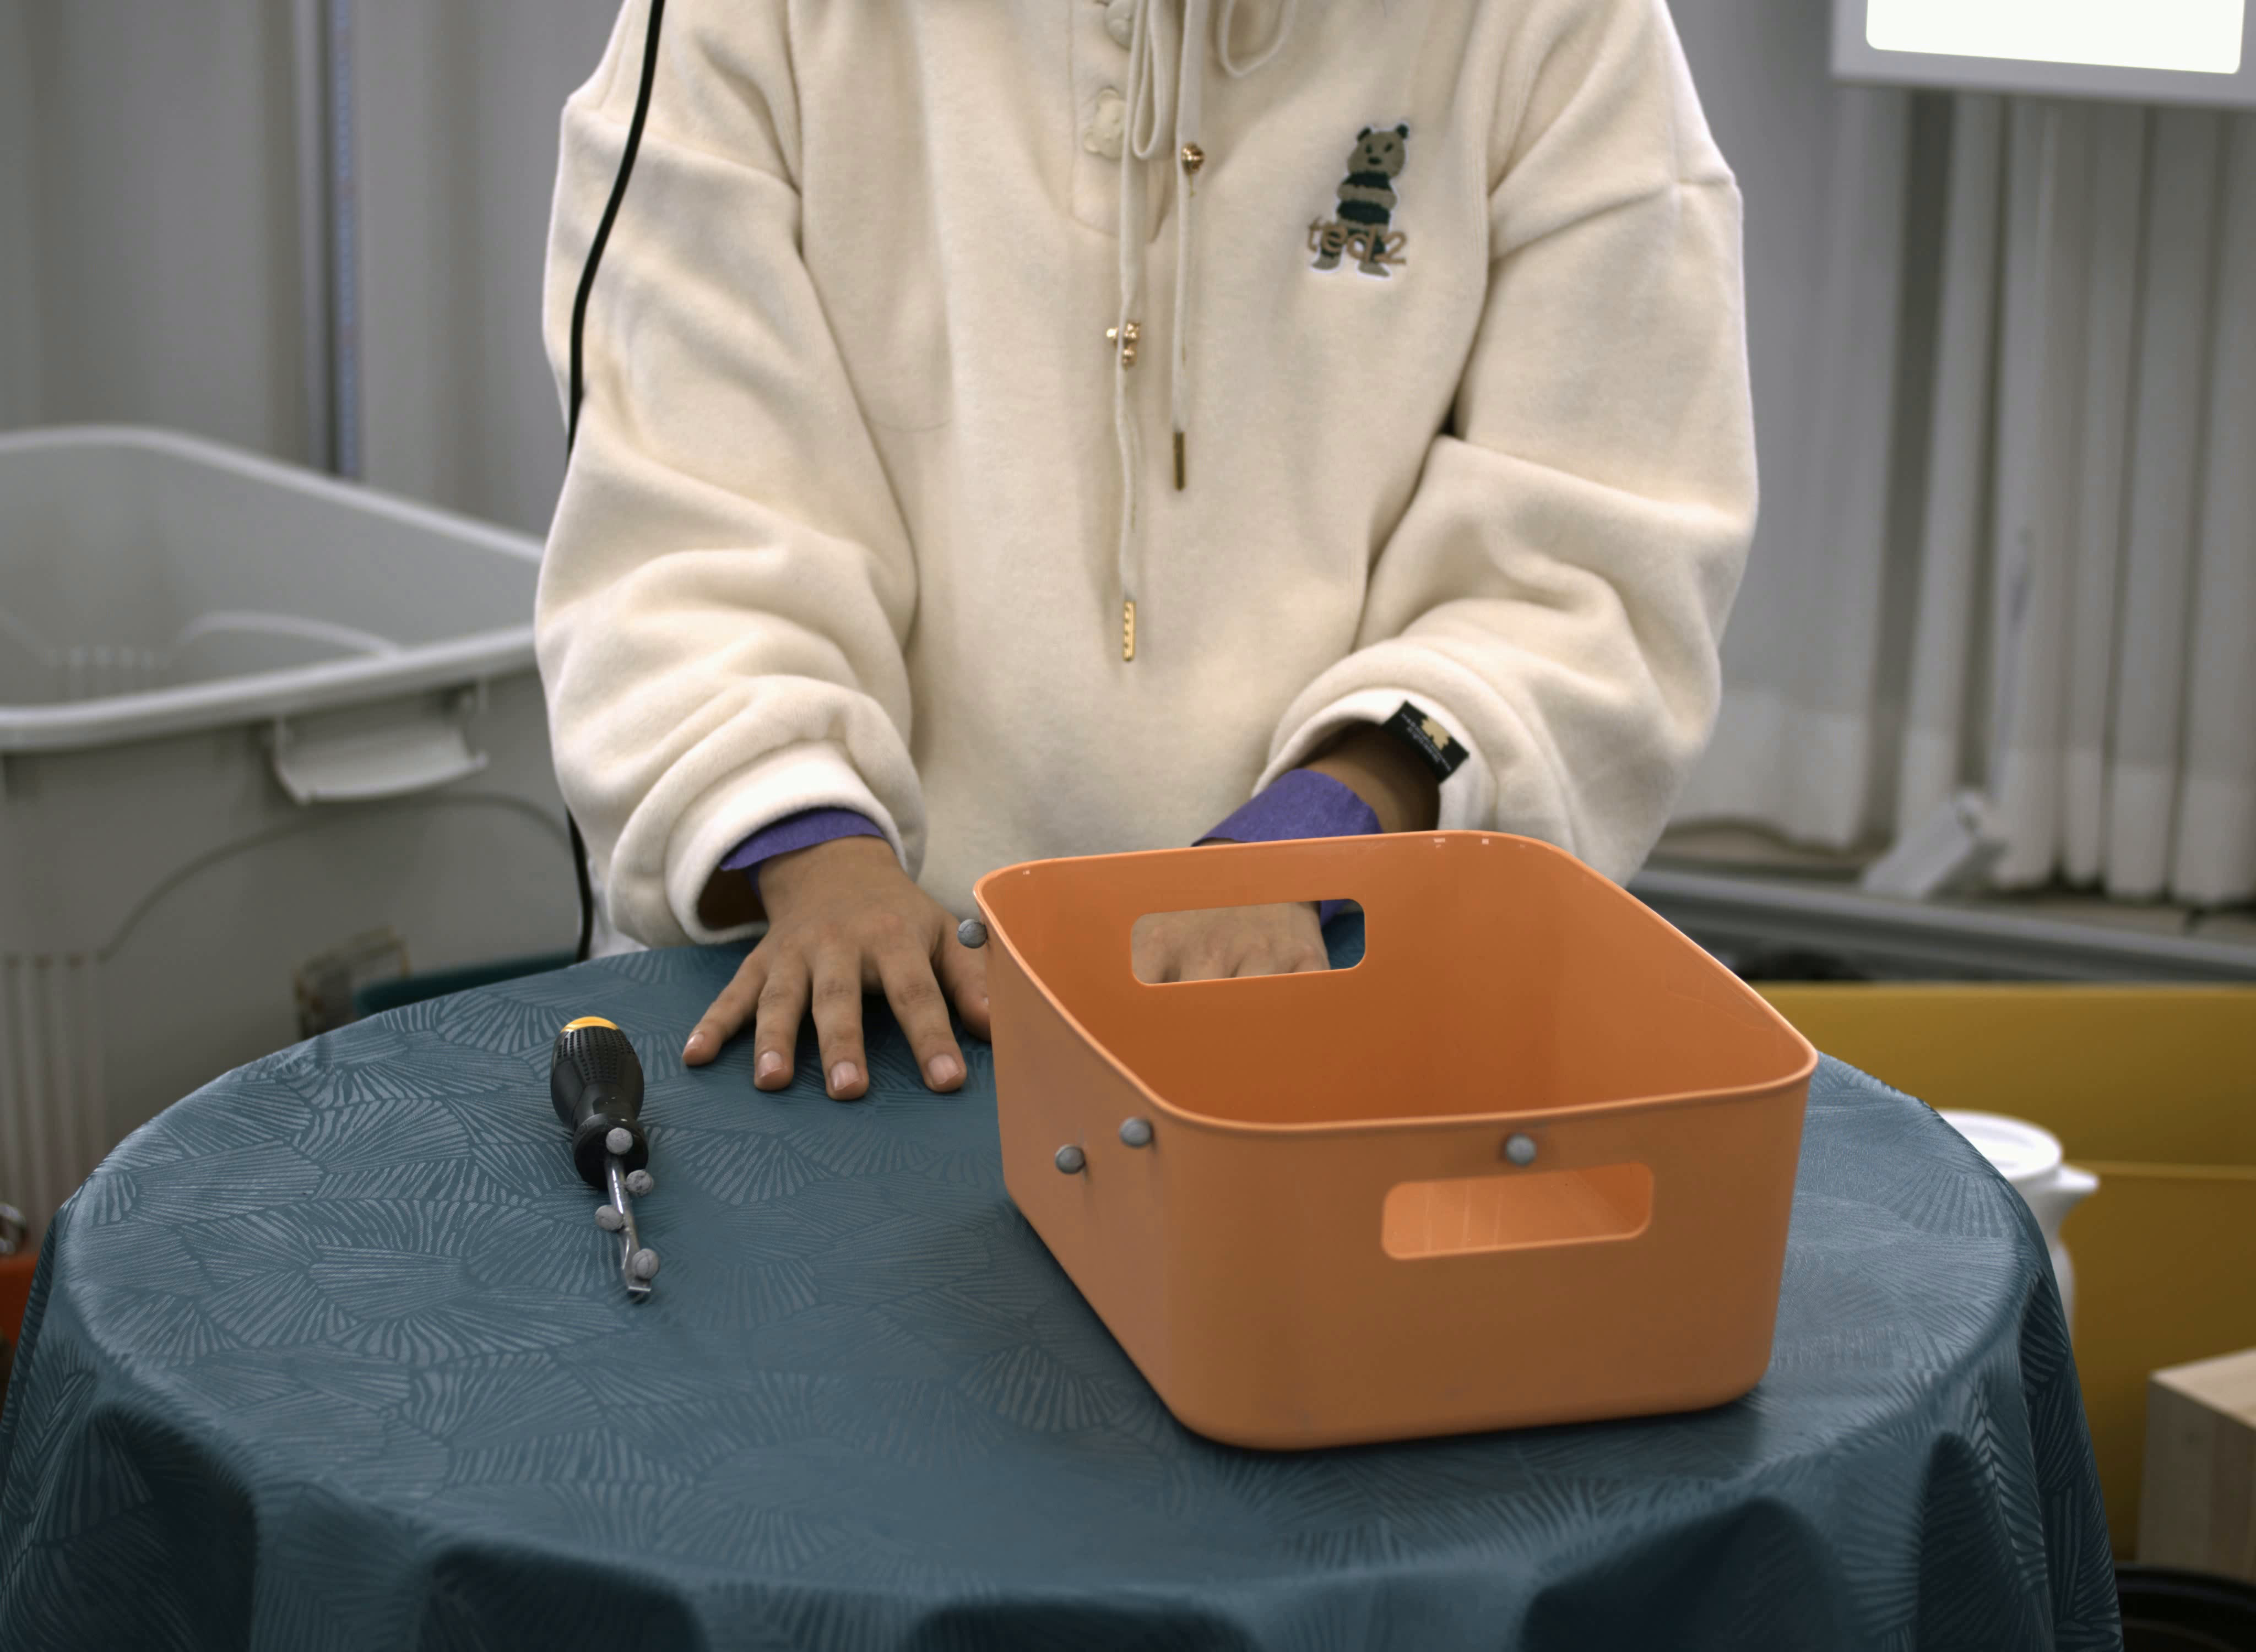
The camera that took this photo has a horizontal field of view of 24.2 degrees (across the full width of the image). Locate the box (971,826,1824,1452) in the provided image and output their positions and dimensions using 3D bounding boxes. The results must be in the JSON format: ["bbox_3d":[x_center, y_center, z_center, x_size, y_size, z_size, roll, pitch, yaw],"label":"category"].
[{"bbox_3d":[0.073,0.086,1.521,0.200,0.103,0.270,-5,17,-15],"label":"box"}]

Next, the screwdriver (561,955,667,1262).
[{"bbox_3d":[-0.151,0.089,1.618,0.031,0.032,0.195,-3,25,-13],"label":"screwdriver"}]
